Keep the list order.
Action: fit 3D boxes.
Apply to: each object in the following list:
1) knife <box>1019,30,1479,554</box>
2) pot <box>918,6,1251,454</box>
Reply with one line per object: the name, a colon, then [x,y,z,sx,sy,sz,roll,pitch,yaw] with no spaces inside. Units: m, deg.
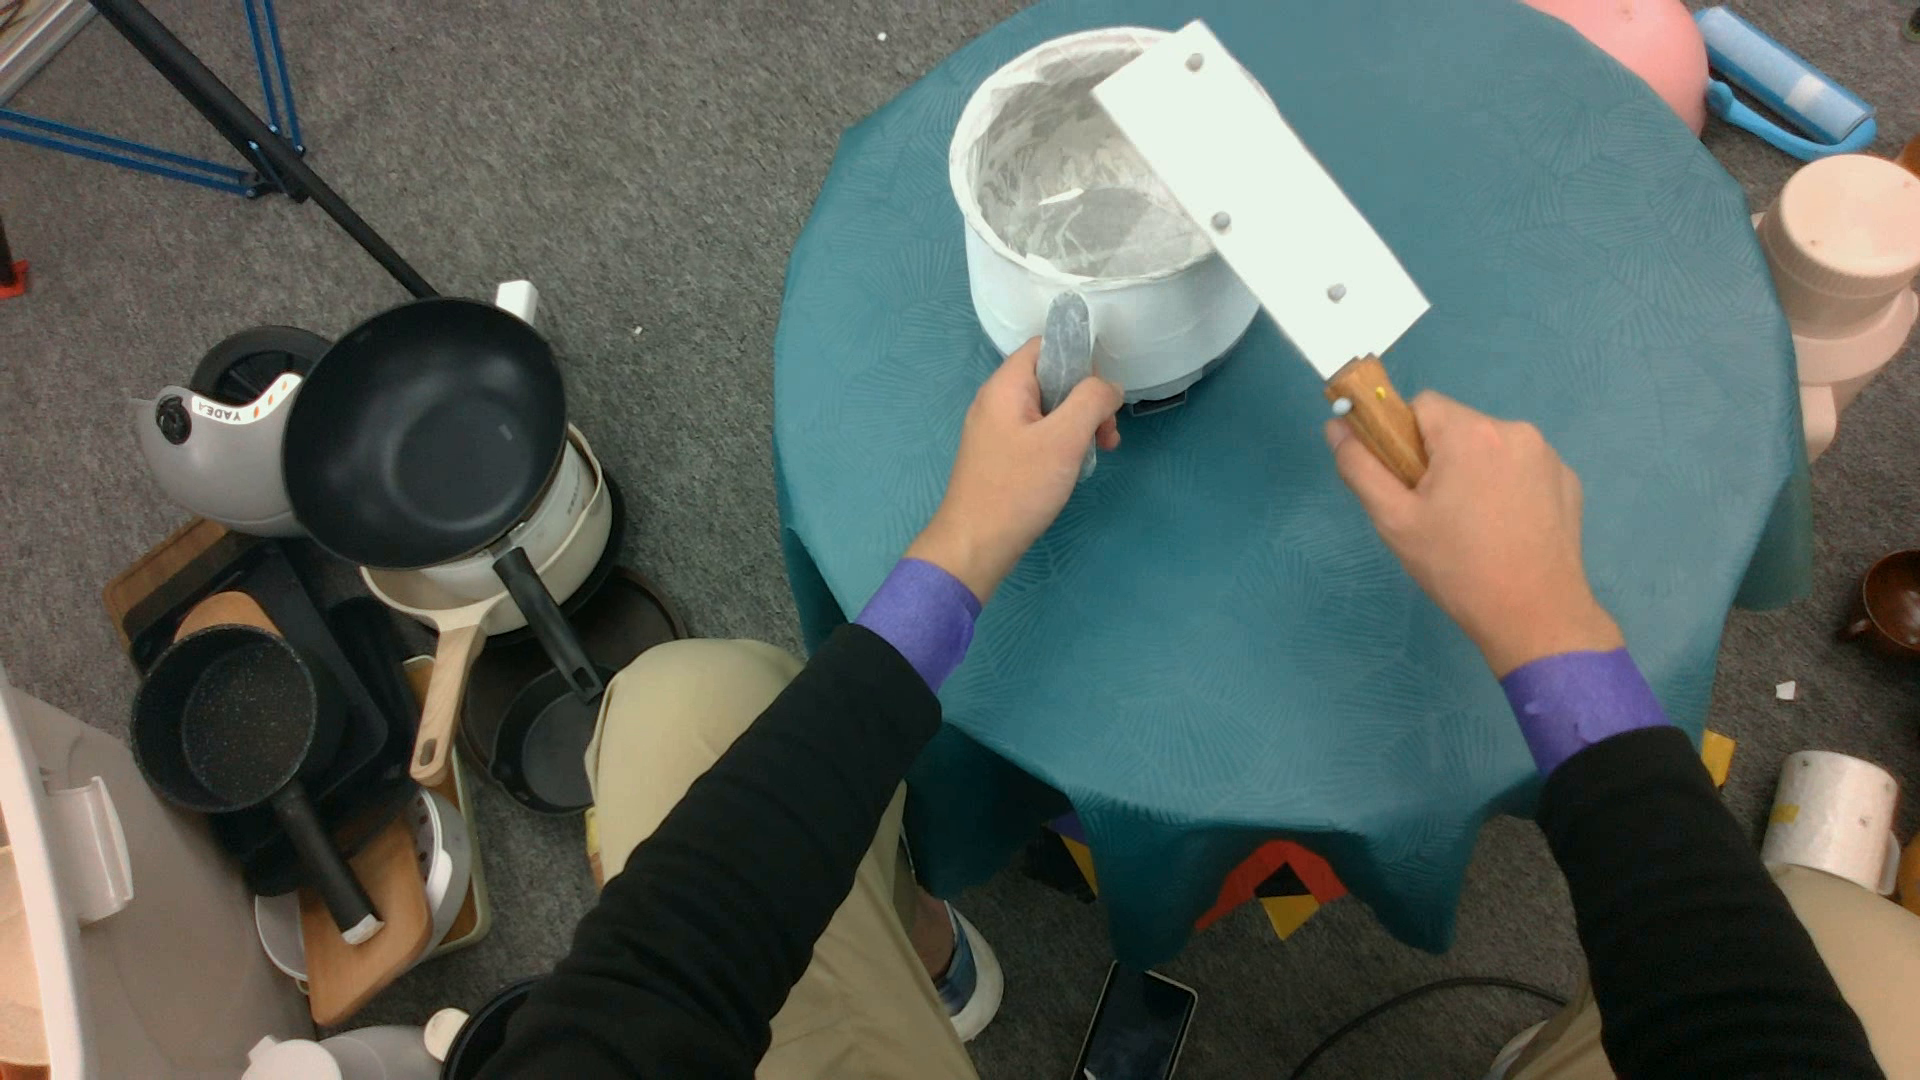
knife: [0.155,-0.126,0.673,0.305,0.021,0.093,46,61,-5]
pot: [0.066,-0.169,0.778,0.178,0.136,0.234,9,64,12]
